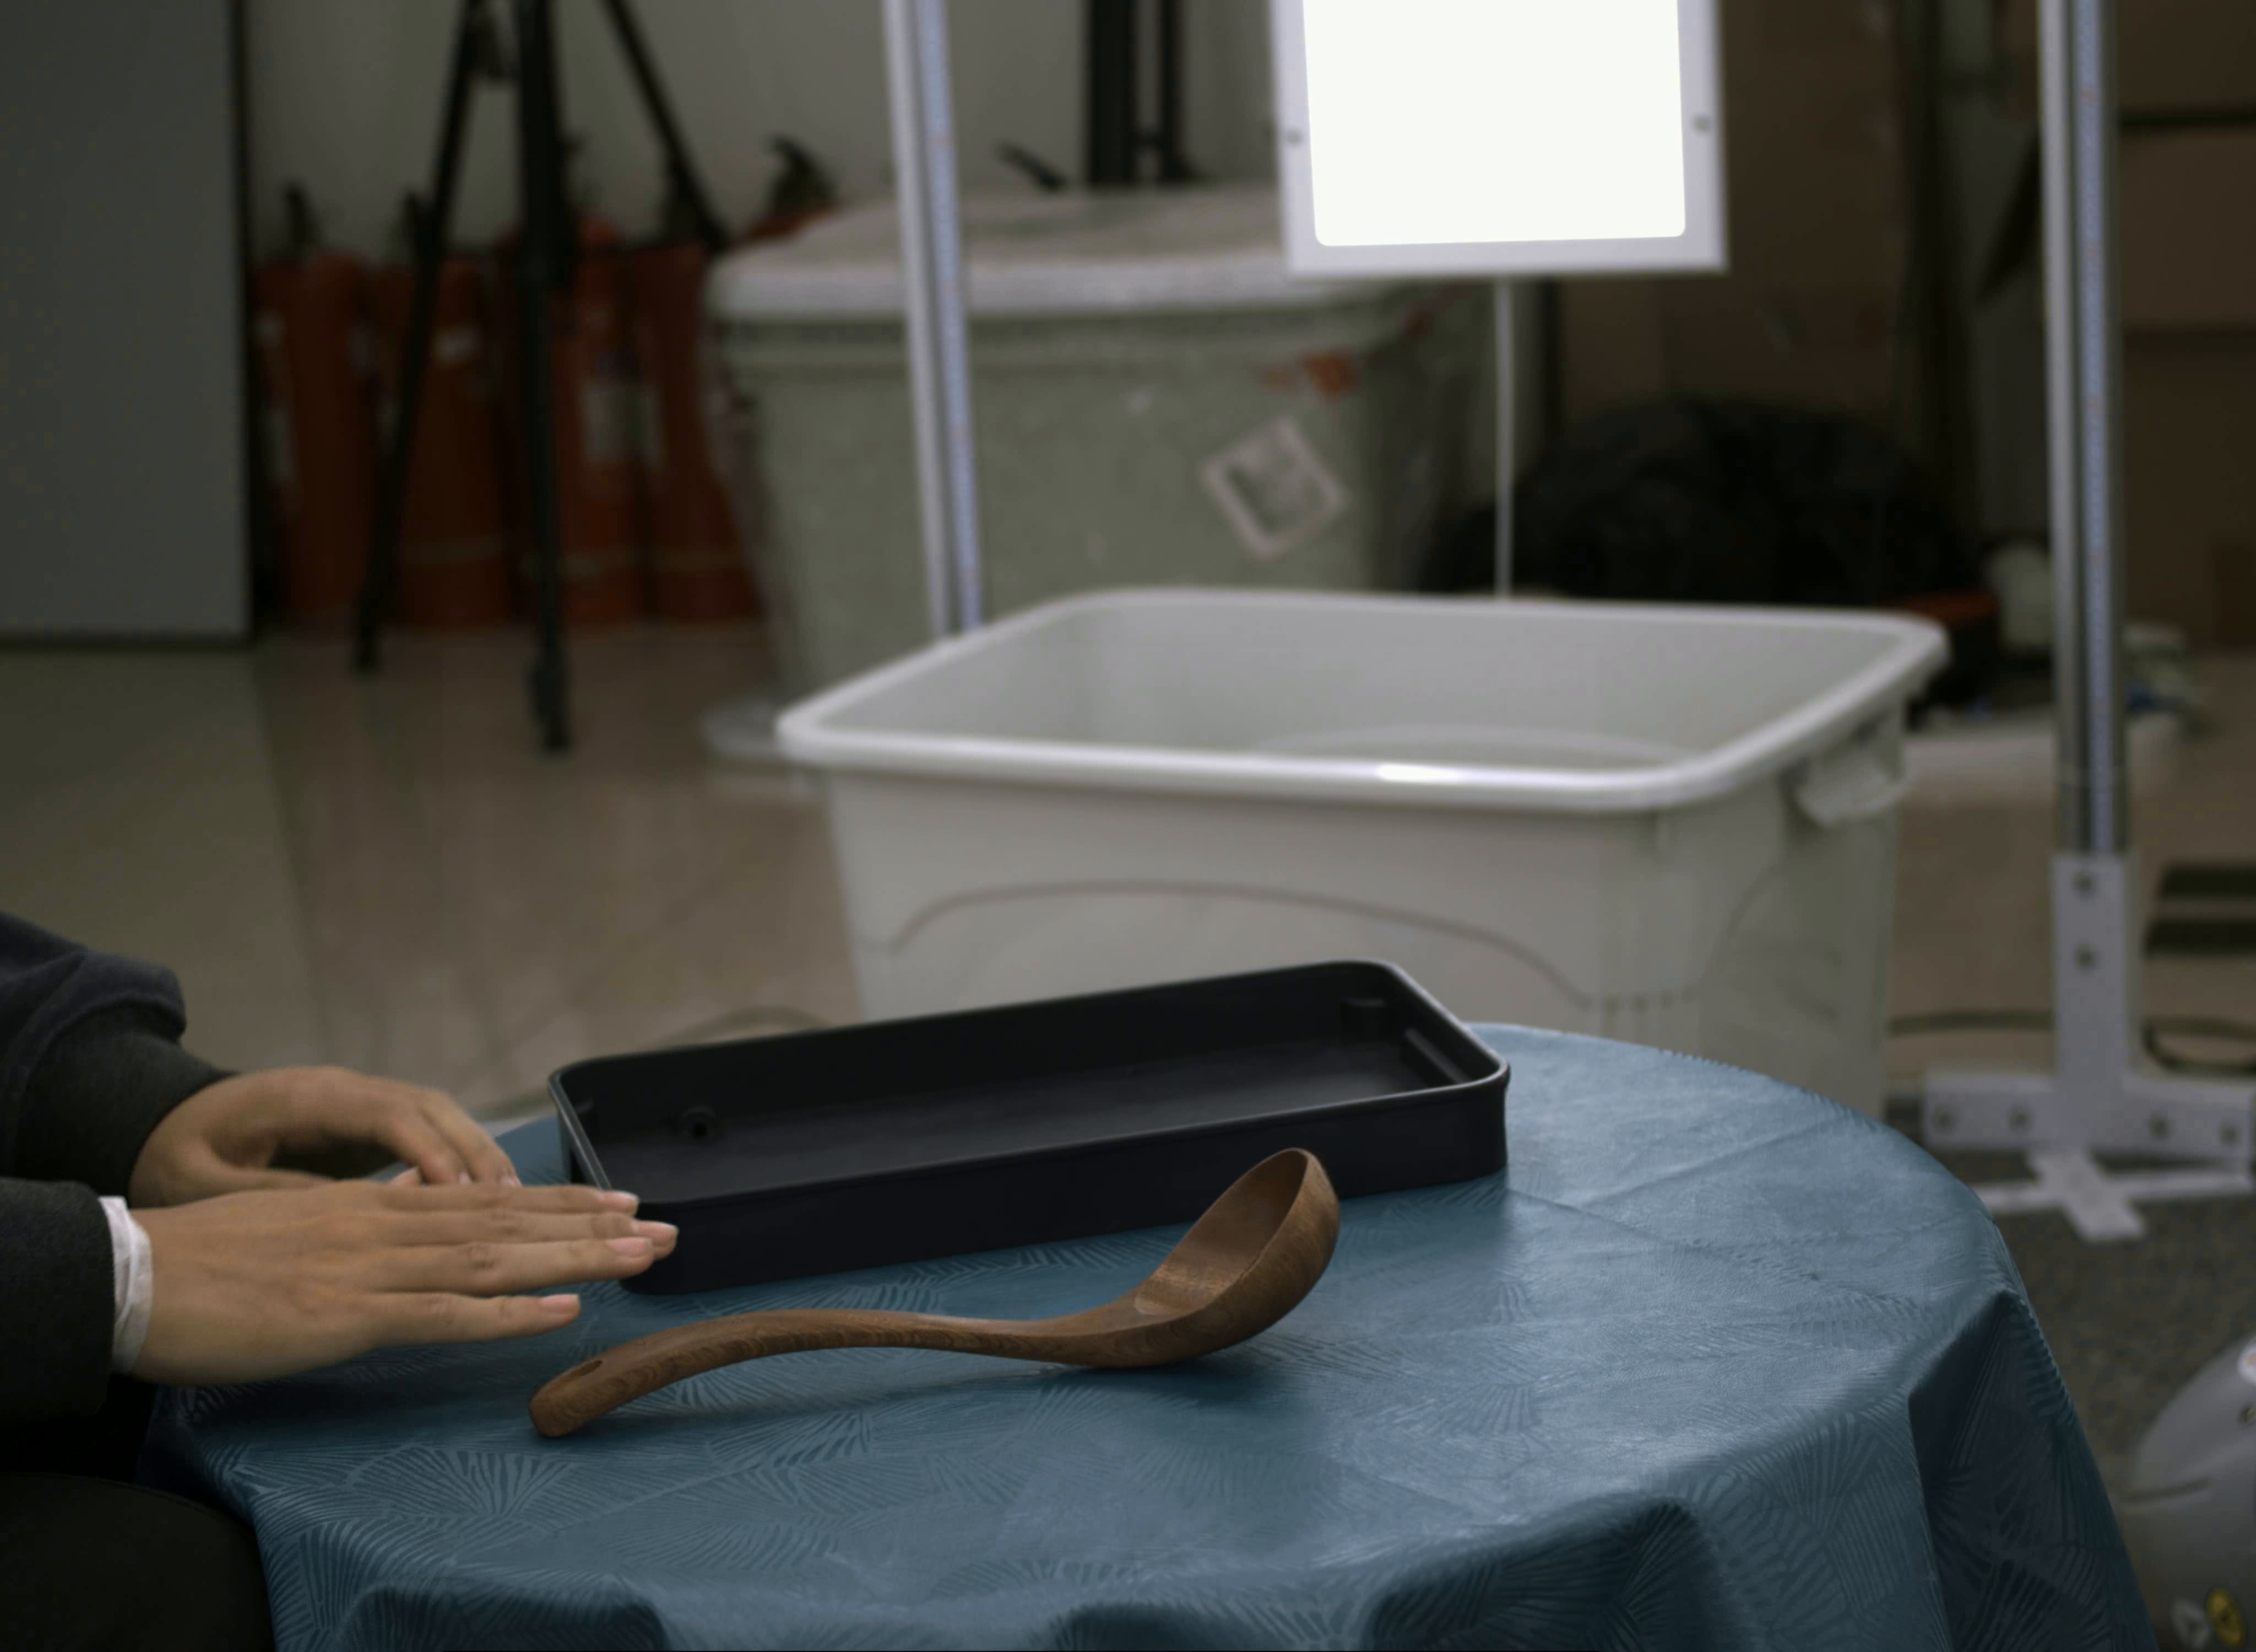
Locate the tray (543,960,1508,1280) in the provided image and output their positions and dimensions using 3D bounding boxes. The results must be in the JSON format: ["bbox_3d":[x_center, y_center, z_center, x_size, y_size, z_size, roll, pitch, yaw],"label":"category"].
[{"bbox_3d":[-0.038,0.100,1.933,0.314,0.037,0.185,-6,14,-10],"label":"tray"}]

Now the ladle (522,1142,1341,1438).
[{"bbox_3d":[-0.061,0.144,1.713,0.259,0.065,0.076,-6,9,-3],"label":"ladle"}]
